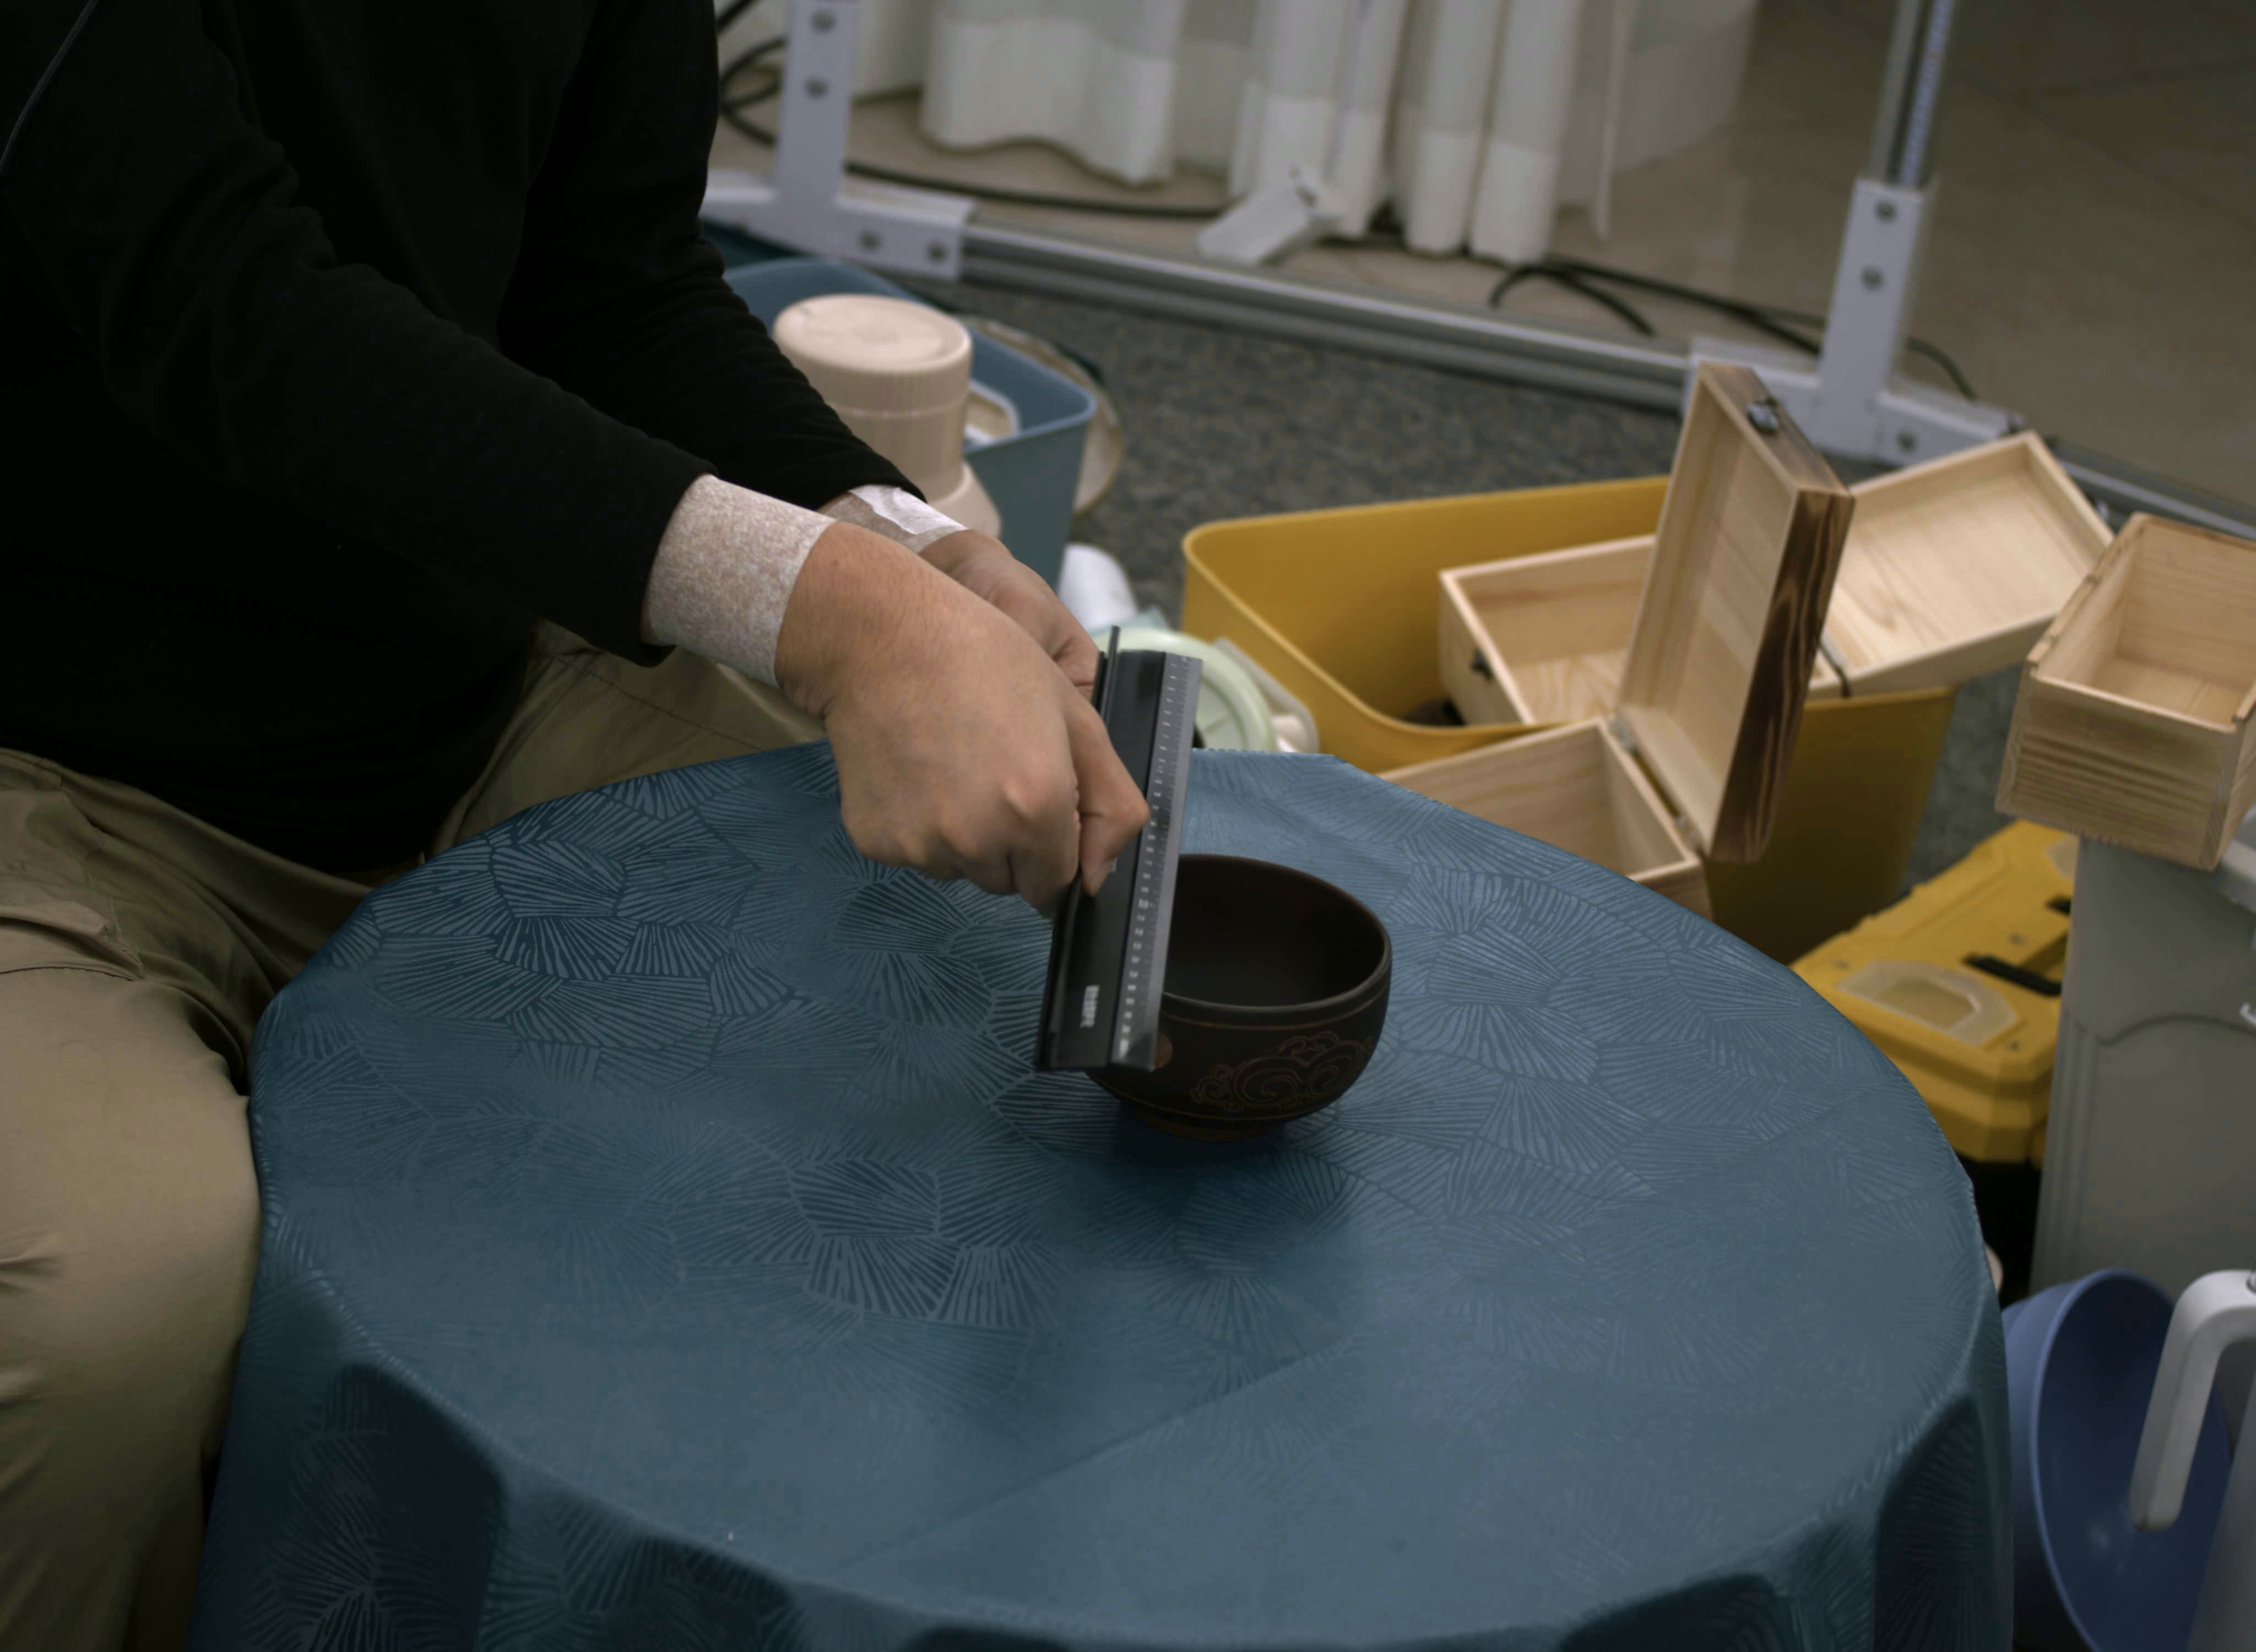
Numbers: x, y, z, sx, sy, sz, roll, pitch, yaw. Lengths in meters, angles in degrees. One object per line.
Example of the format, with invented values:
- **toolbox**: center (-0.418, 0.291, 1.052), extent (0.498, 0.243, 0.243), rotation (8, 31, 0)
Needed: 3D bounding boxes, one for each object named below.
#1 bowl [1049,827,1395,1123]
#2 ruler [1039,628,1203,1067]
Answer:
- **bowl**: center (0.029, 0.059, 1.844), extent (0.117, 0.069, 0.119), rotation (10, 29, -6)
- **ruler**: center (-0.001, 0.001, 1.817), extent (0.039, 0.017, 0.314), rotation (1, 26, 4)
